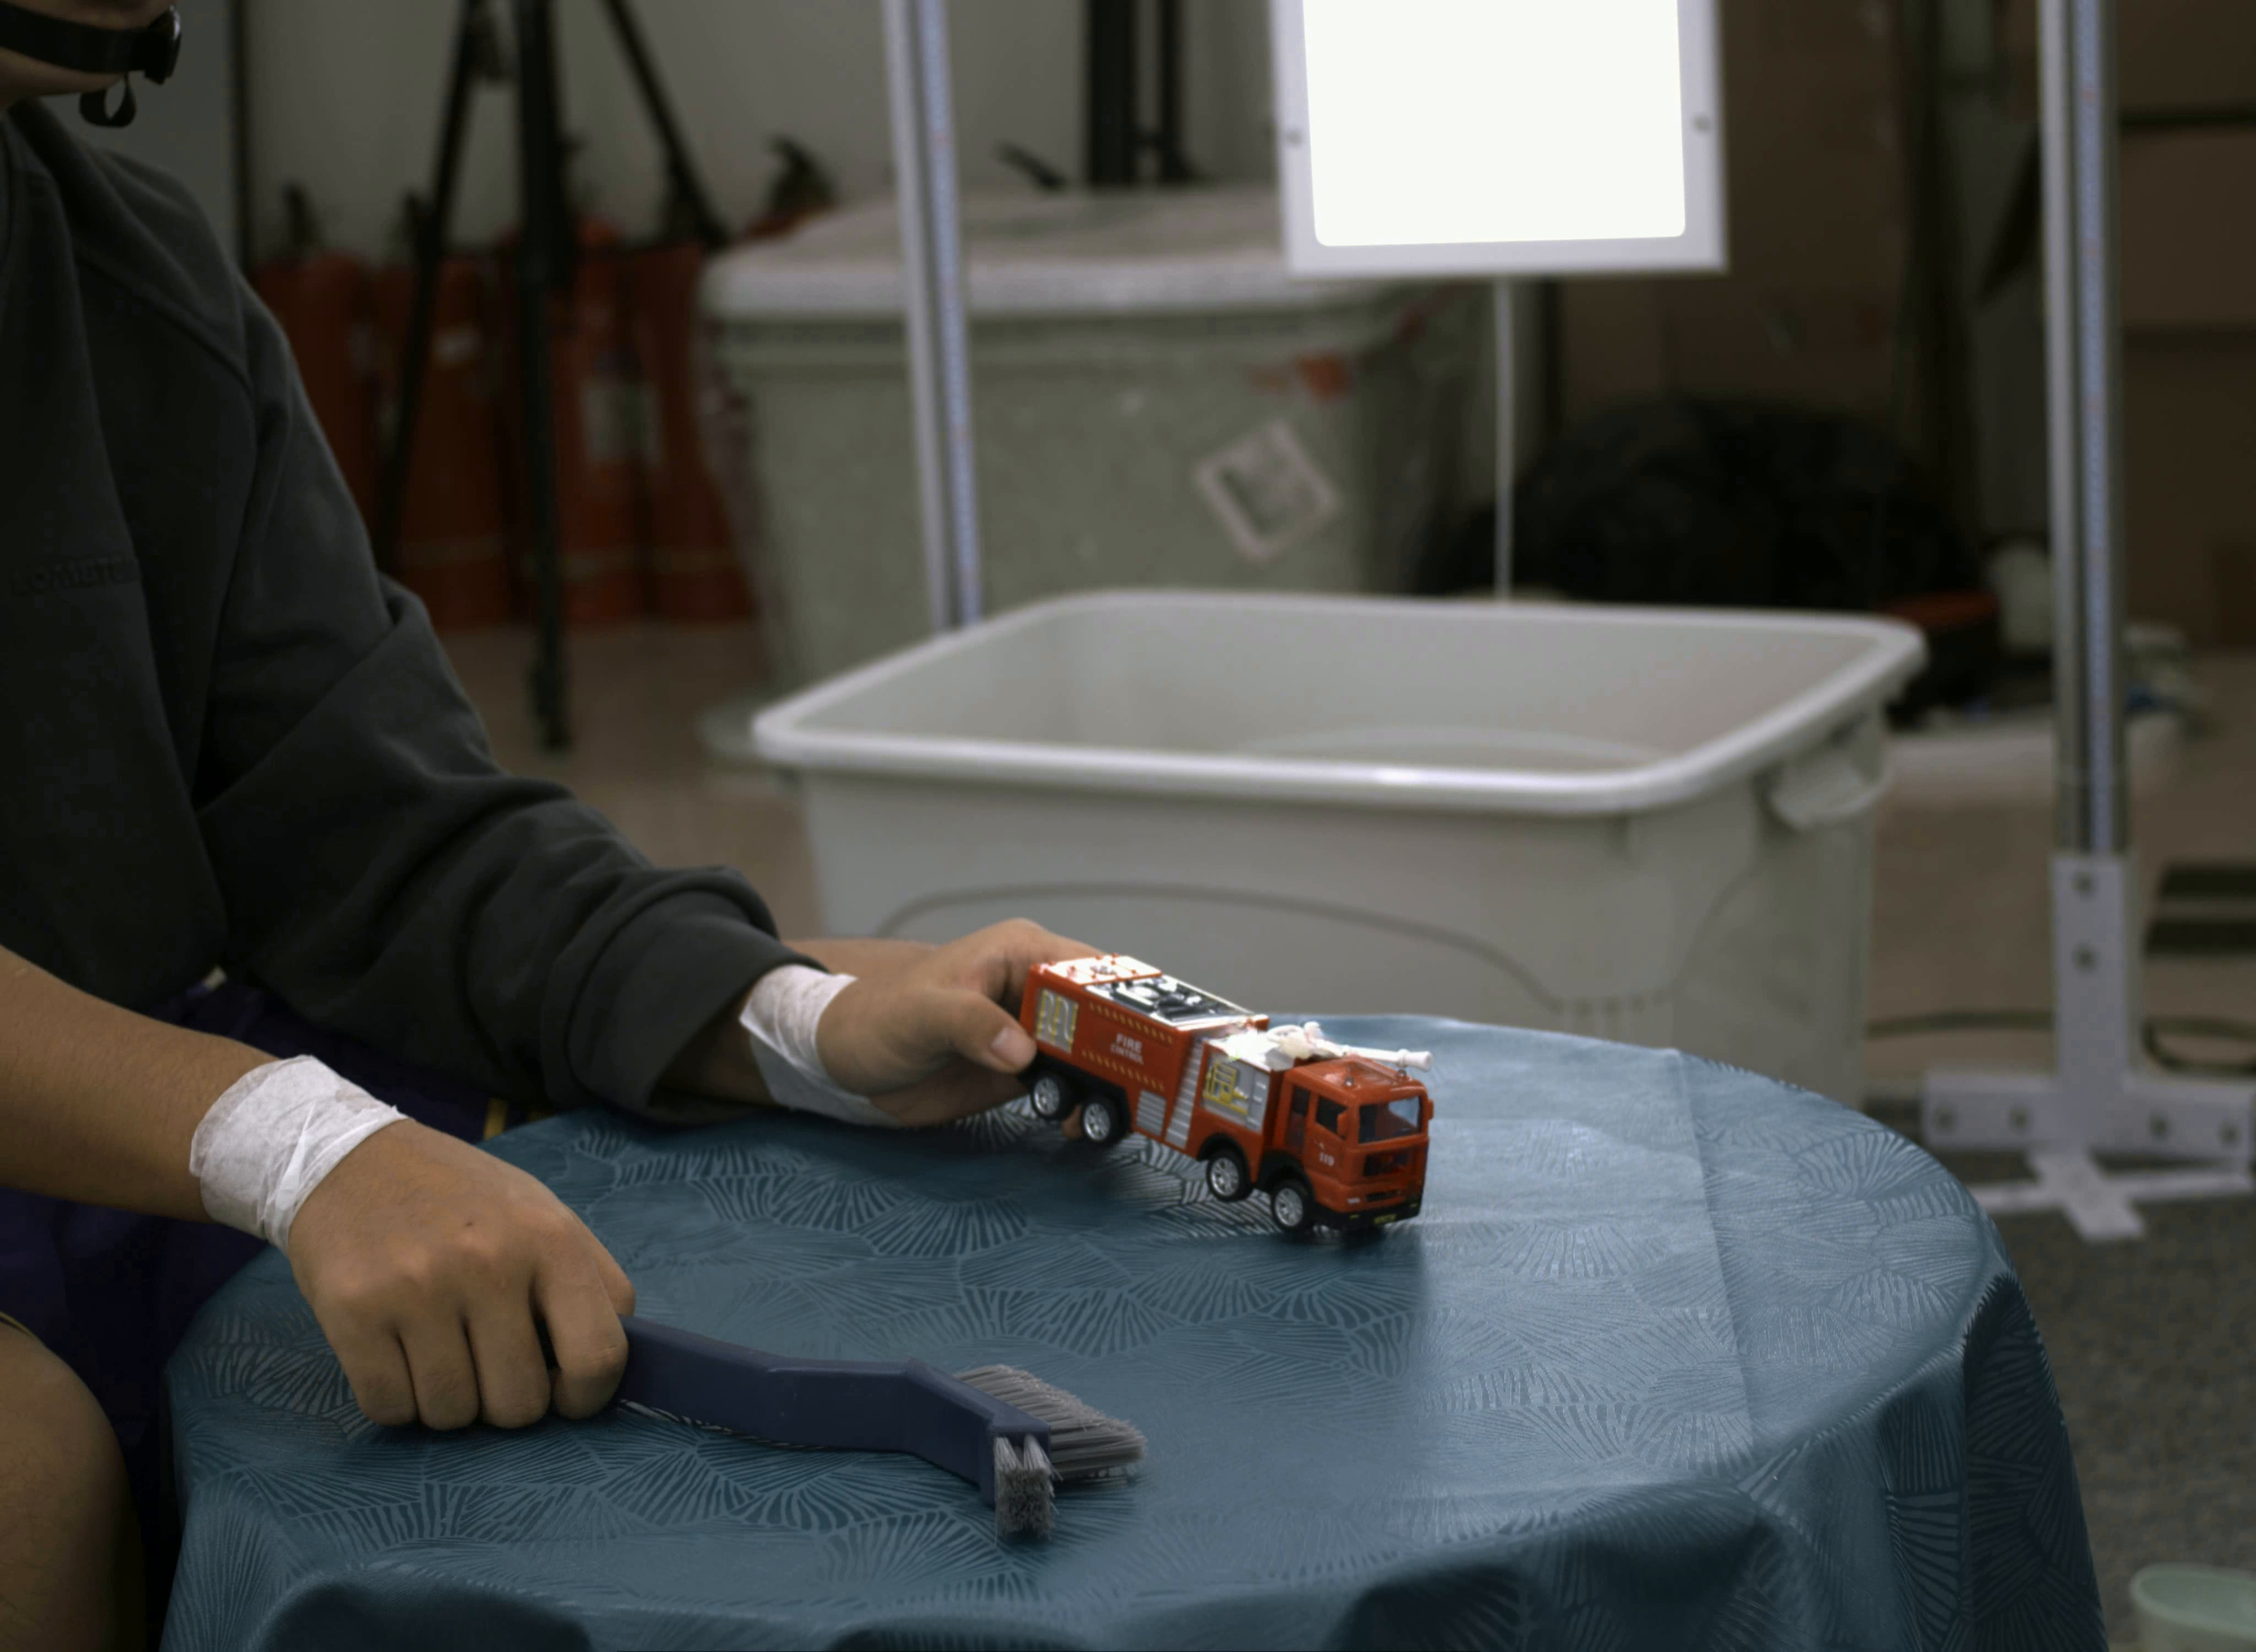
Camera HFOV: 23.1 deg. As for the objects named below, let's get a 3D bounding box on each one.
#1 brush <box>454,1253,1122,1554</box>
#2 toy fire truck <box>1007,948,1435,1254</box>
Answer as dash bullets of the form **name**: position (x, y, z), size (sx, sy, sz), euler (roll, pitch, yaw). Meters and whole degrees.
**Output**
- **brush**: position (-0.121, 0.173, 1.684), size (0.279, 0.033, 0.093), euler (6, 18, 36)
- **toy fire truck**: position (0.033, 0.090, 1.866), size (0.052, 0.071, 0.171), euler (-7, 20, -45)
